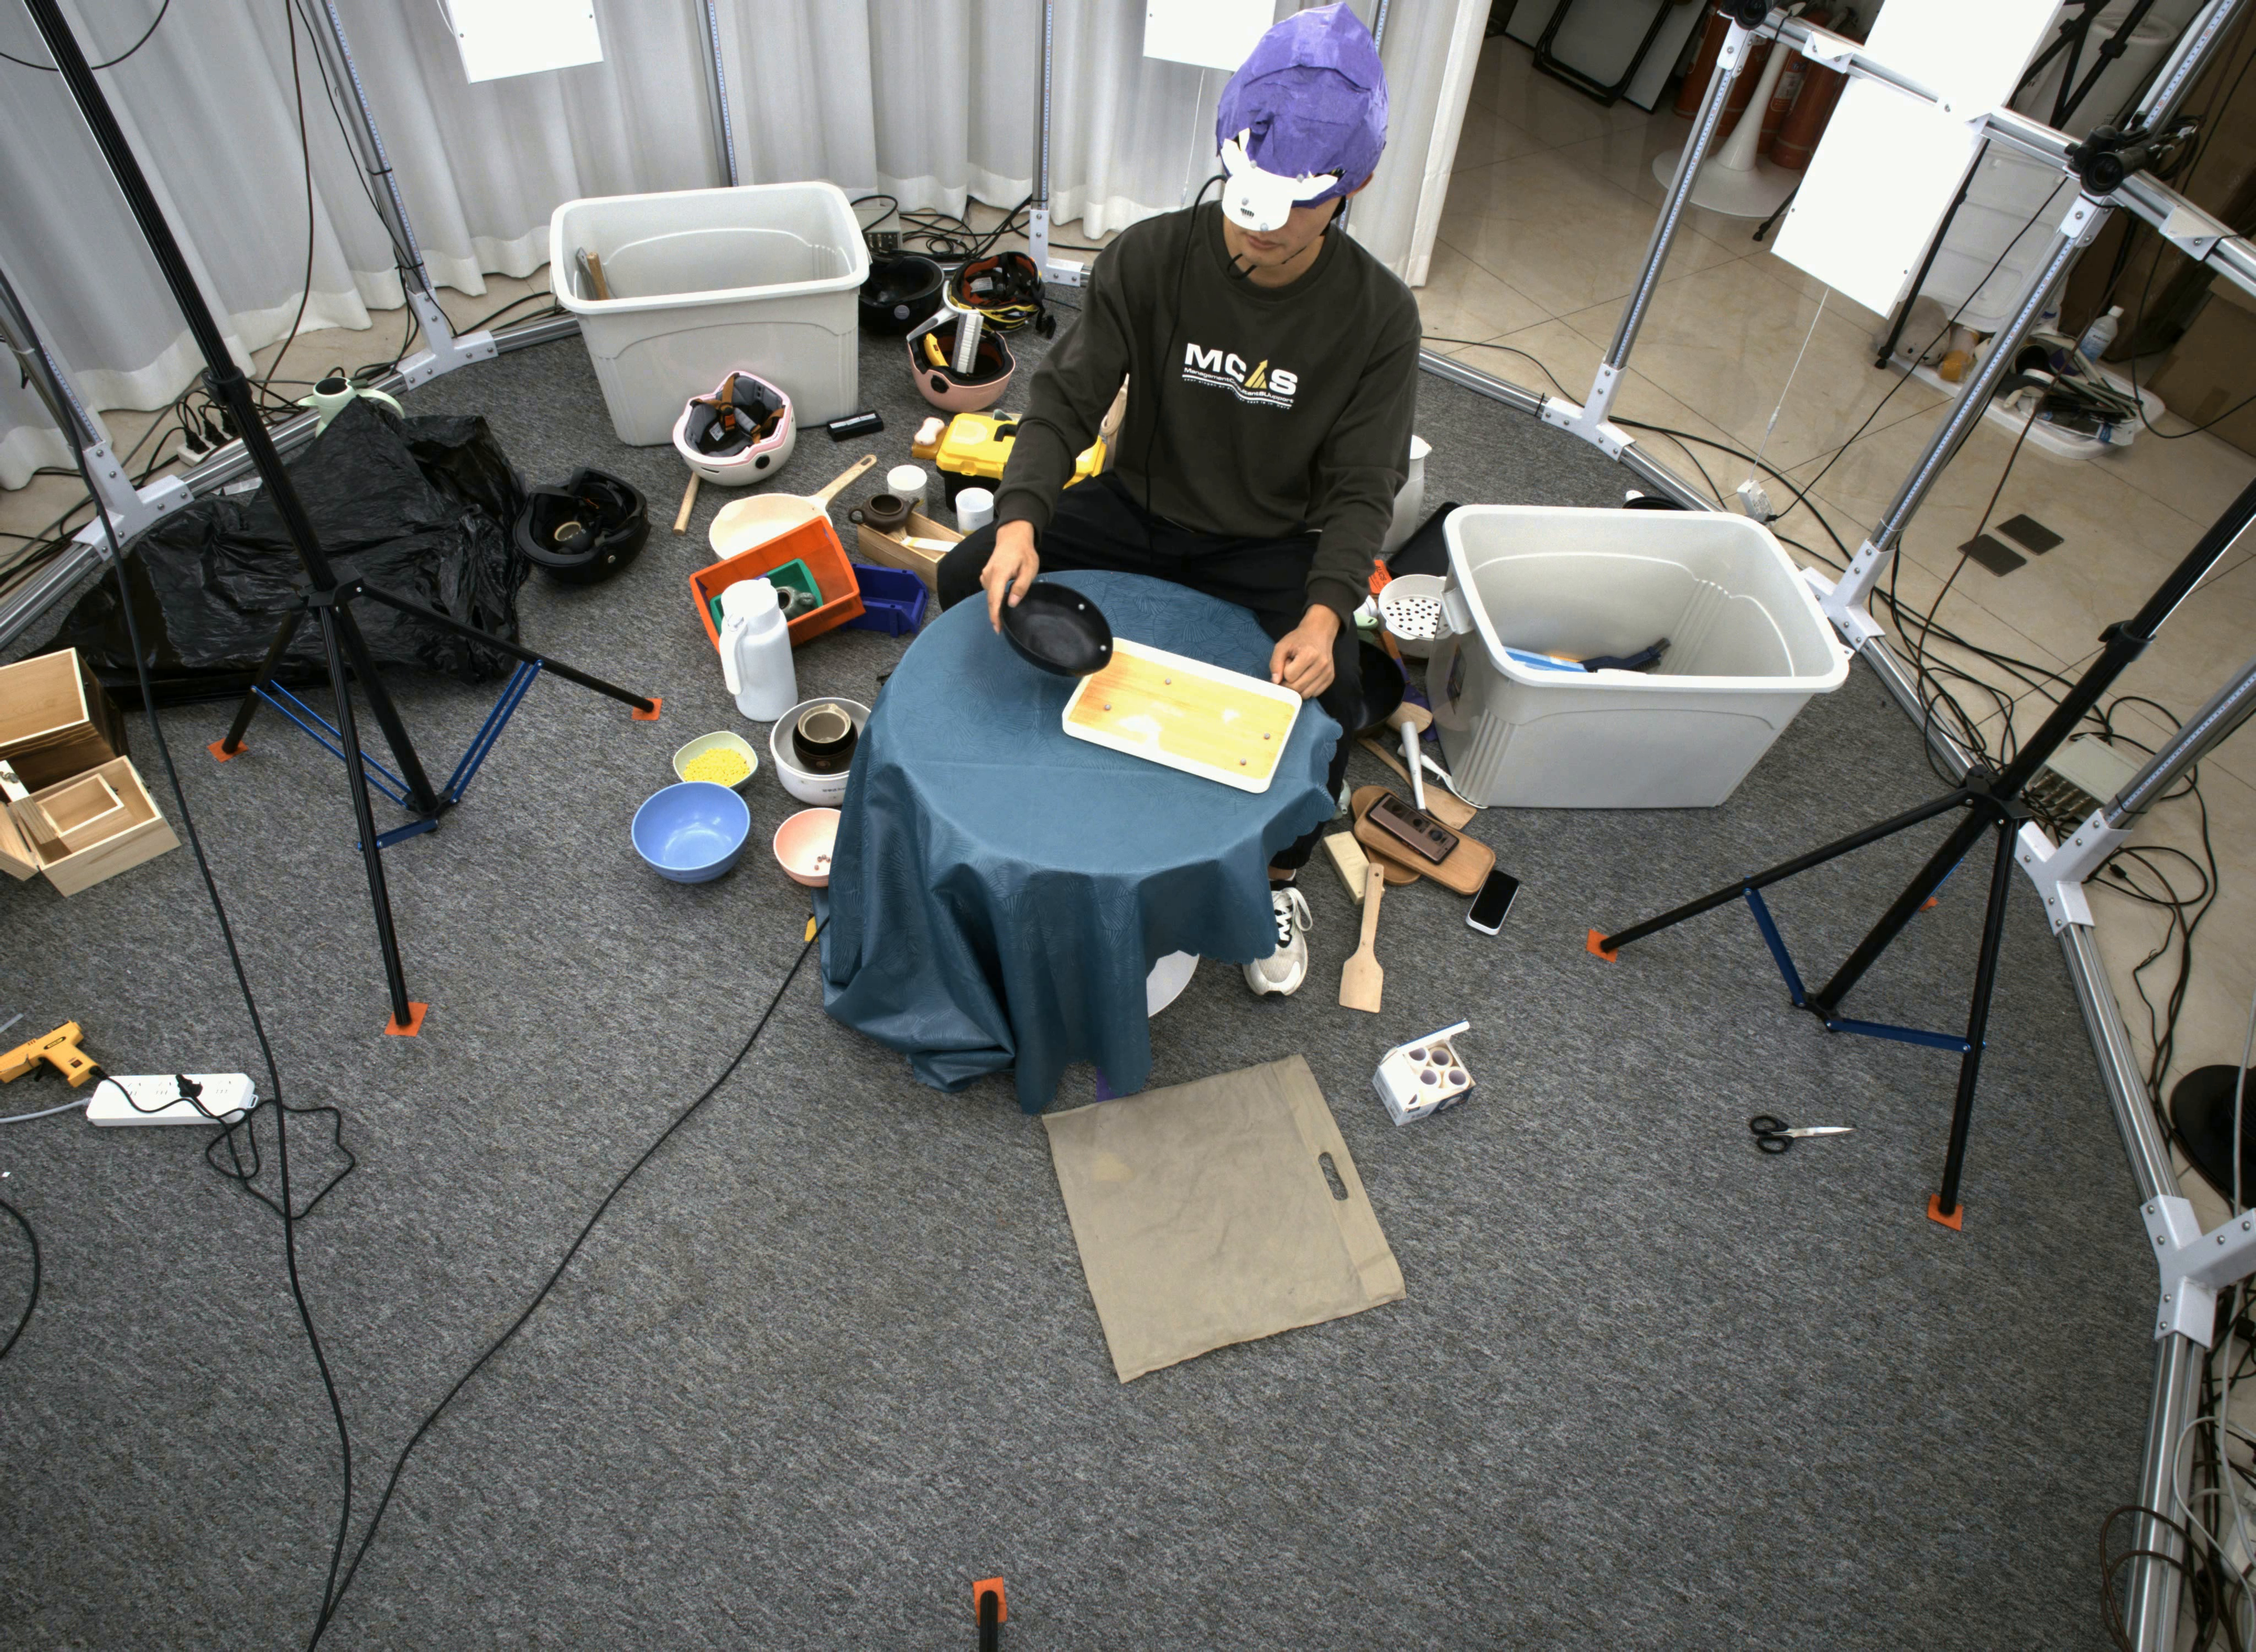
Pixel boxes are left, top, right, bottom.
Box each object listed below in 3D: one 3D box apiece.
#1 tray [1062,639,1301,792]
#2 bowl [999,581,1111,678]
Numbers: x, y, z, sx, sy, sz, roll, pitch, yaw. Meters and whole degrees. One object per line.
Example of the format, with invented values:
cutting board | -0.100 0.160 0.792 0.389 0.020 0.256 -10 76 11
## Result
tray | 0.076 -0.158 1.790 0.301 0.027 0.195 18 50 11
bowl | -0.105 -0.264 1.794 0.170 0.065 0.140 31 56 3
